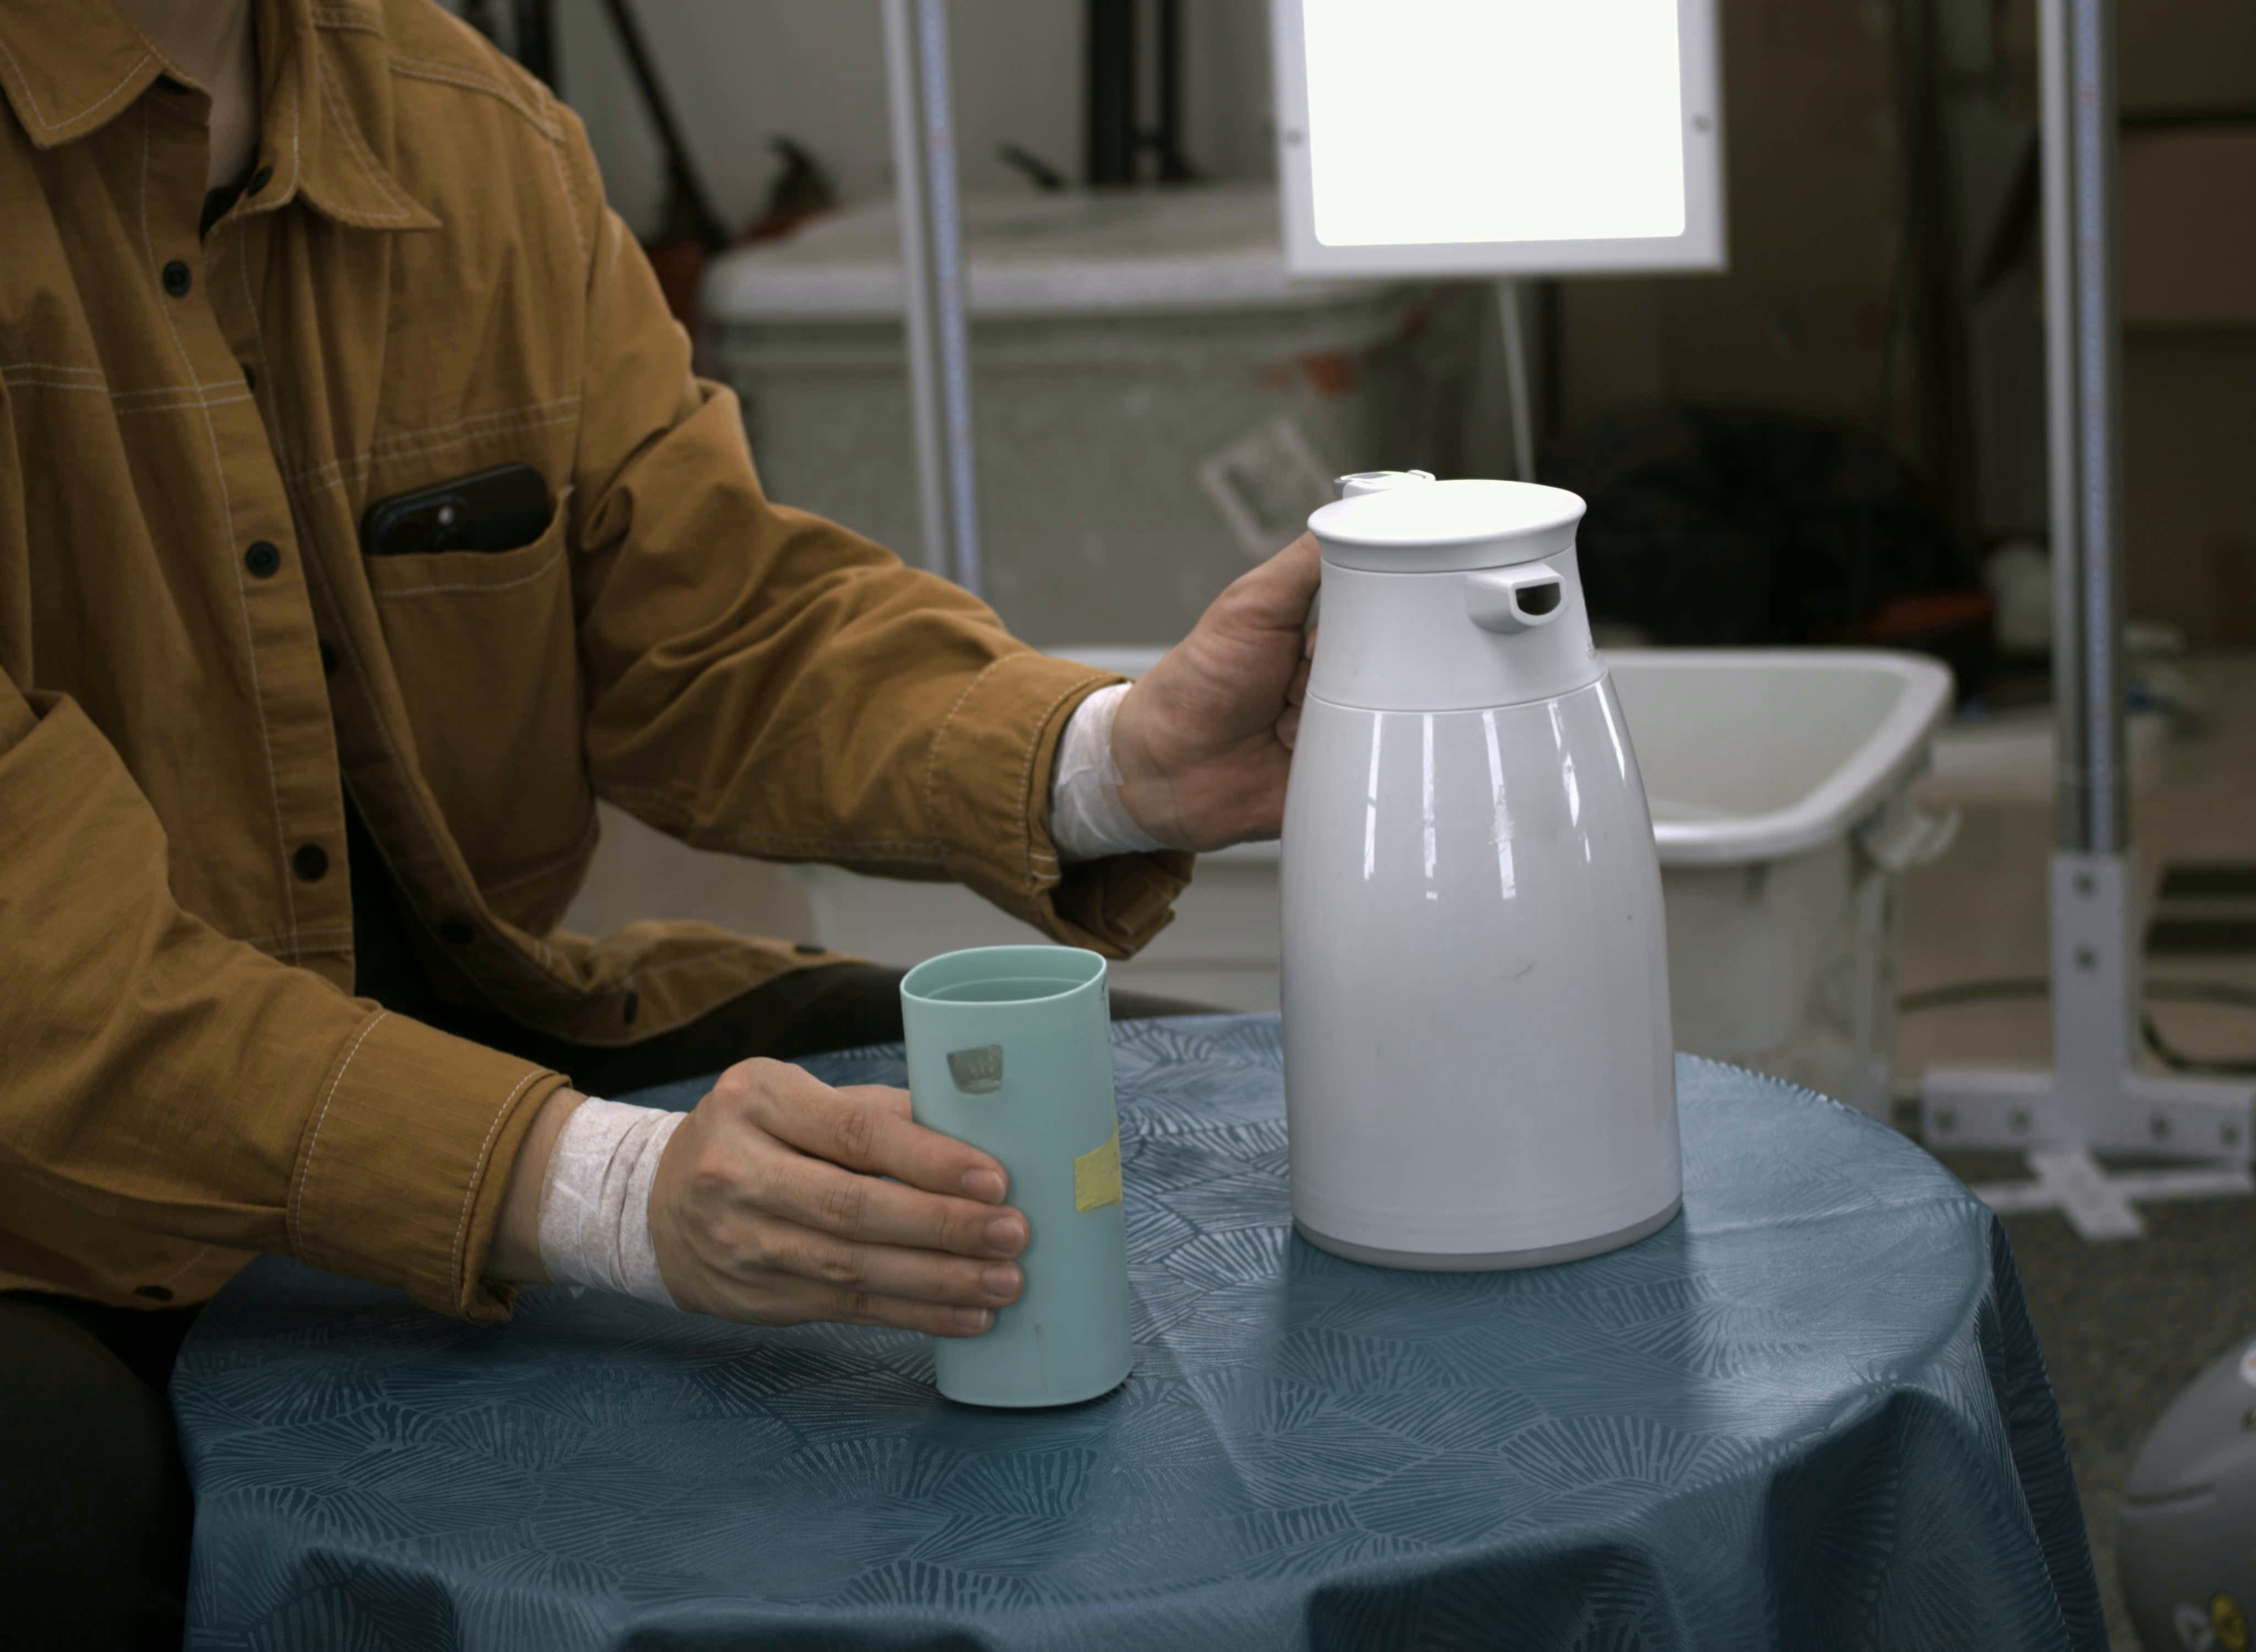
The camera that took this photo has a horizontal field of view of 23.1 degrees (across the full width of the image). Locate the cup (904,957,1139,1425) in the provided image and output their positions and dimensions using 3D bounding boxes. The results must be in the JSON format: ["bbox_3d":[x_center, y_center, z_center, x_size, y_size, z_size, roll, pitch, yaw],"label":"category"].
[{"bbox_3d":[-0.033,0.112,1.701,0.066,0.133,0.066,-5,14,0],"label":"cup"}]

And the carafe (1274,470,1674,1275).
[{"bbox_3d":[0.103,0.007,1.833,0.130,0.249,0.170,-9,13,-22],"label":"carafe"}]
